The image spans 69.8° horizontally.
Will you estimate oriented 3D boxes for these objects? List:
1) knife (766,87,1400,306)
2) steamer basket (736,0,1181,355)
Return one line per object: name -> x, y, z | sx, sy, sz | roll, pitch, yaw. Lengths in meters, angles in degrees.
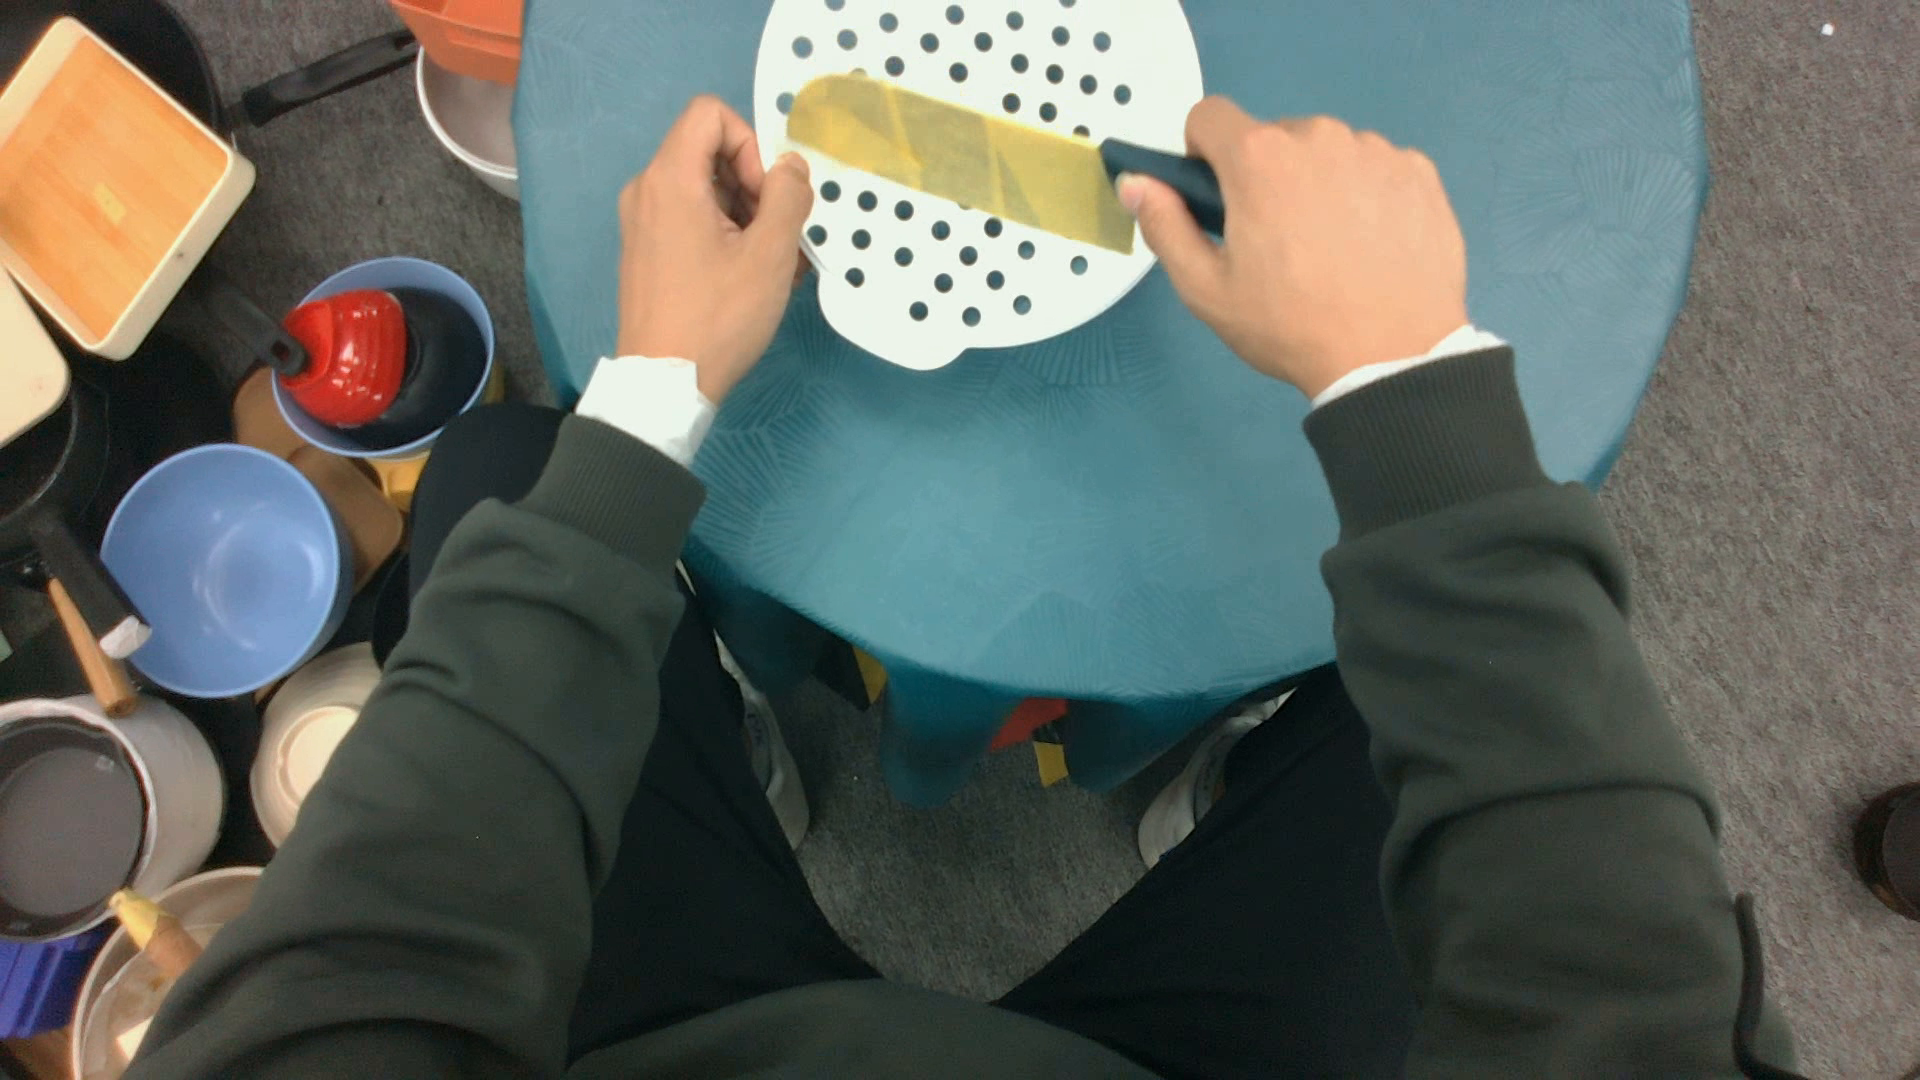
knife -> 0.041, -0.143, 0.584 | 0.289, 0.081, 0.027 | 20, 74, 18
steamer basket -> -0.003, -0.197, 0.638 | 0.202, 0.069, 0.230 | 25, 91, -13
